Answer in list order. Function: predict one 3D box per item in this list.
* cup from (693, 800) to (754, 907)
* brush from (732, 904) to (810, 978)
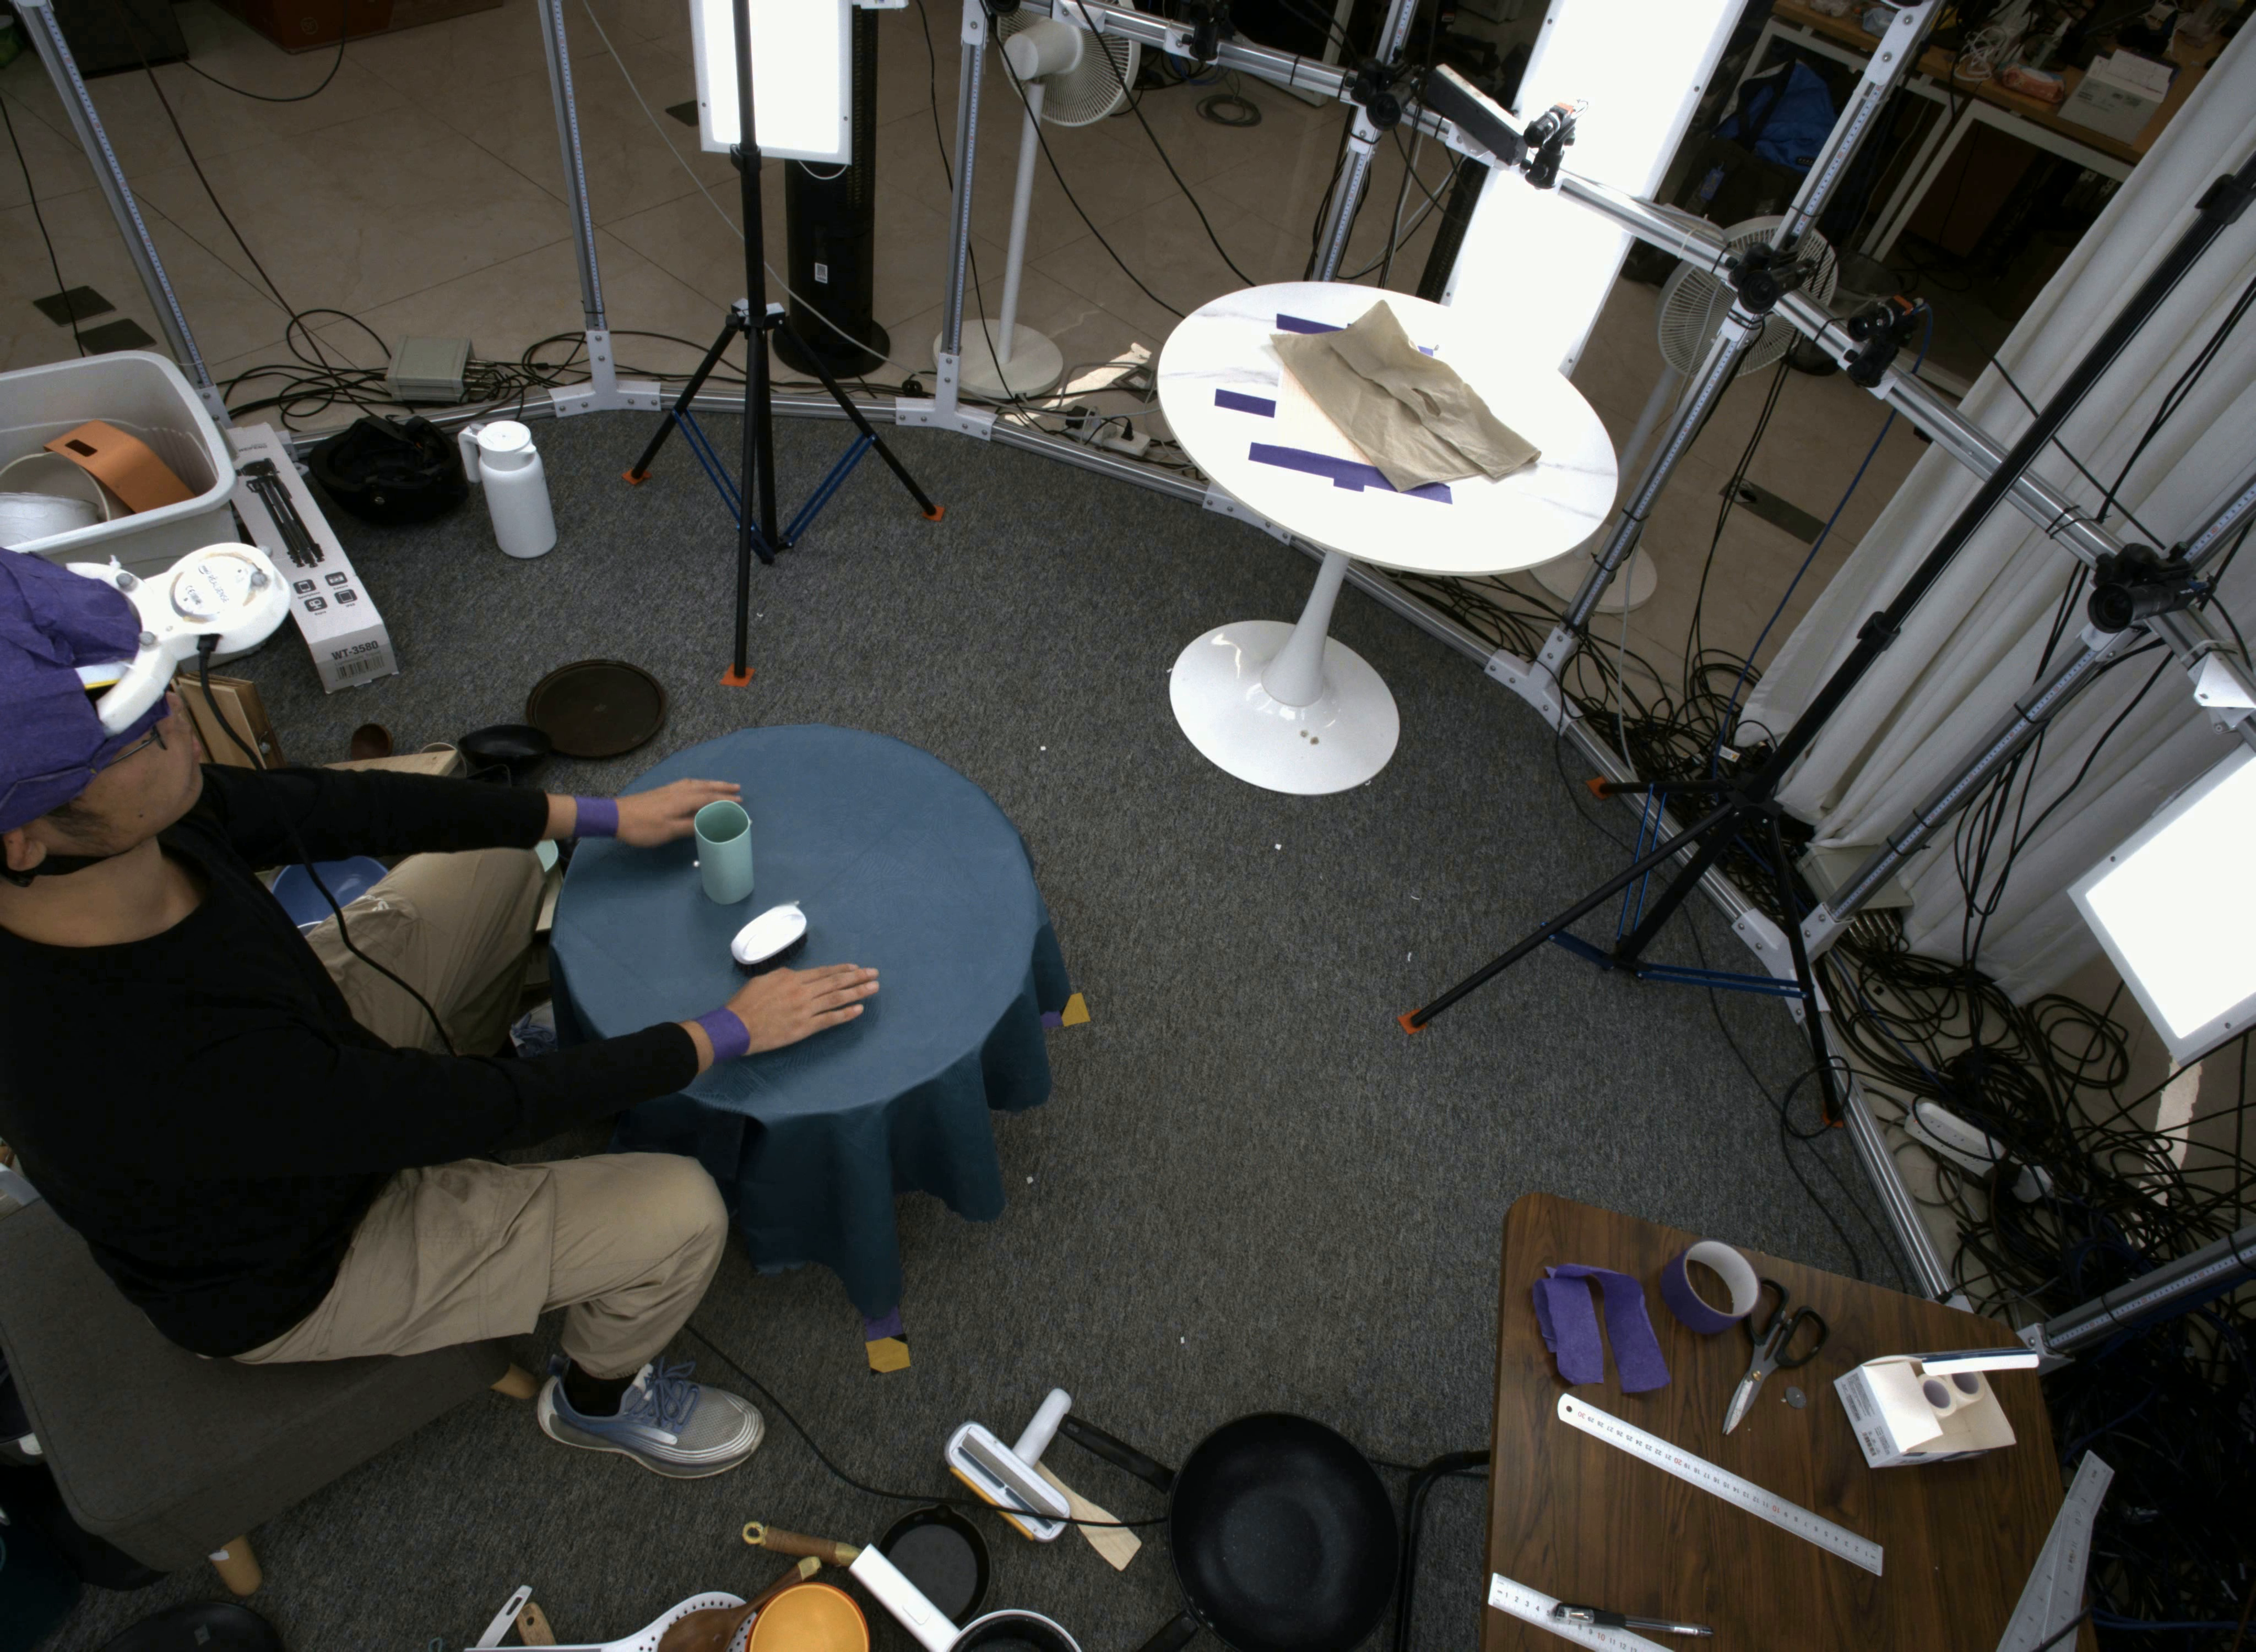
[{"bbox_3d":[-0.500,0.035,1.603,0.066,0.135,0.065,7,51,-7],"label":"cup"},{"bbox_3d":[-0.437,0.131,1.579,0.099,0.074,0.049,-31,63,-32],"label":"brush"}]
